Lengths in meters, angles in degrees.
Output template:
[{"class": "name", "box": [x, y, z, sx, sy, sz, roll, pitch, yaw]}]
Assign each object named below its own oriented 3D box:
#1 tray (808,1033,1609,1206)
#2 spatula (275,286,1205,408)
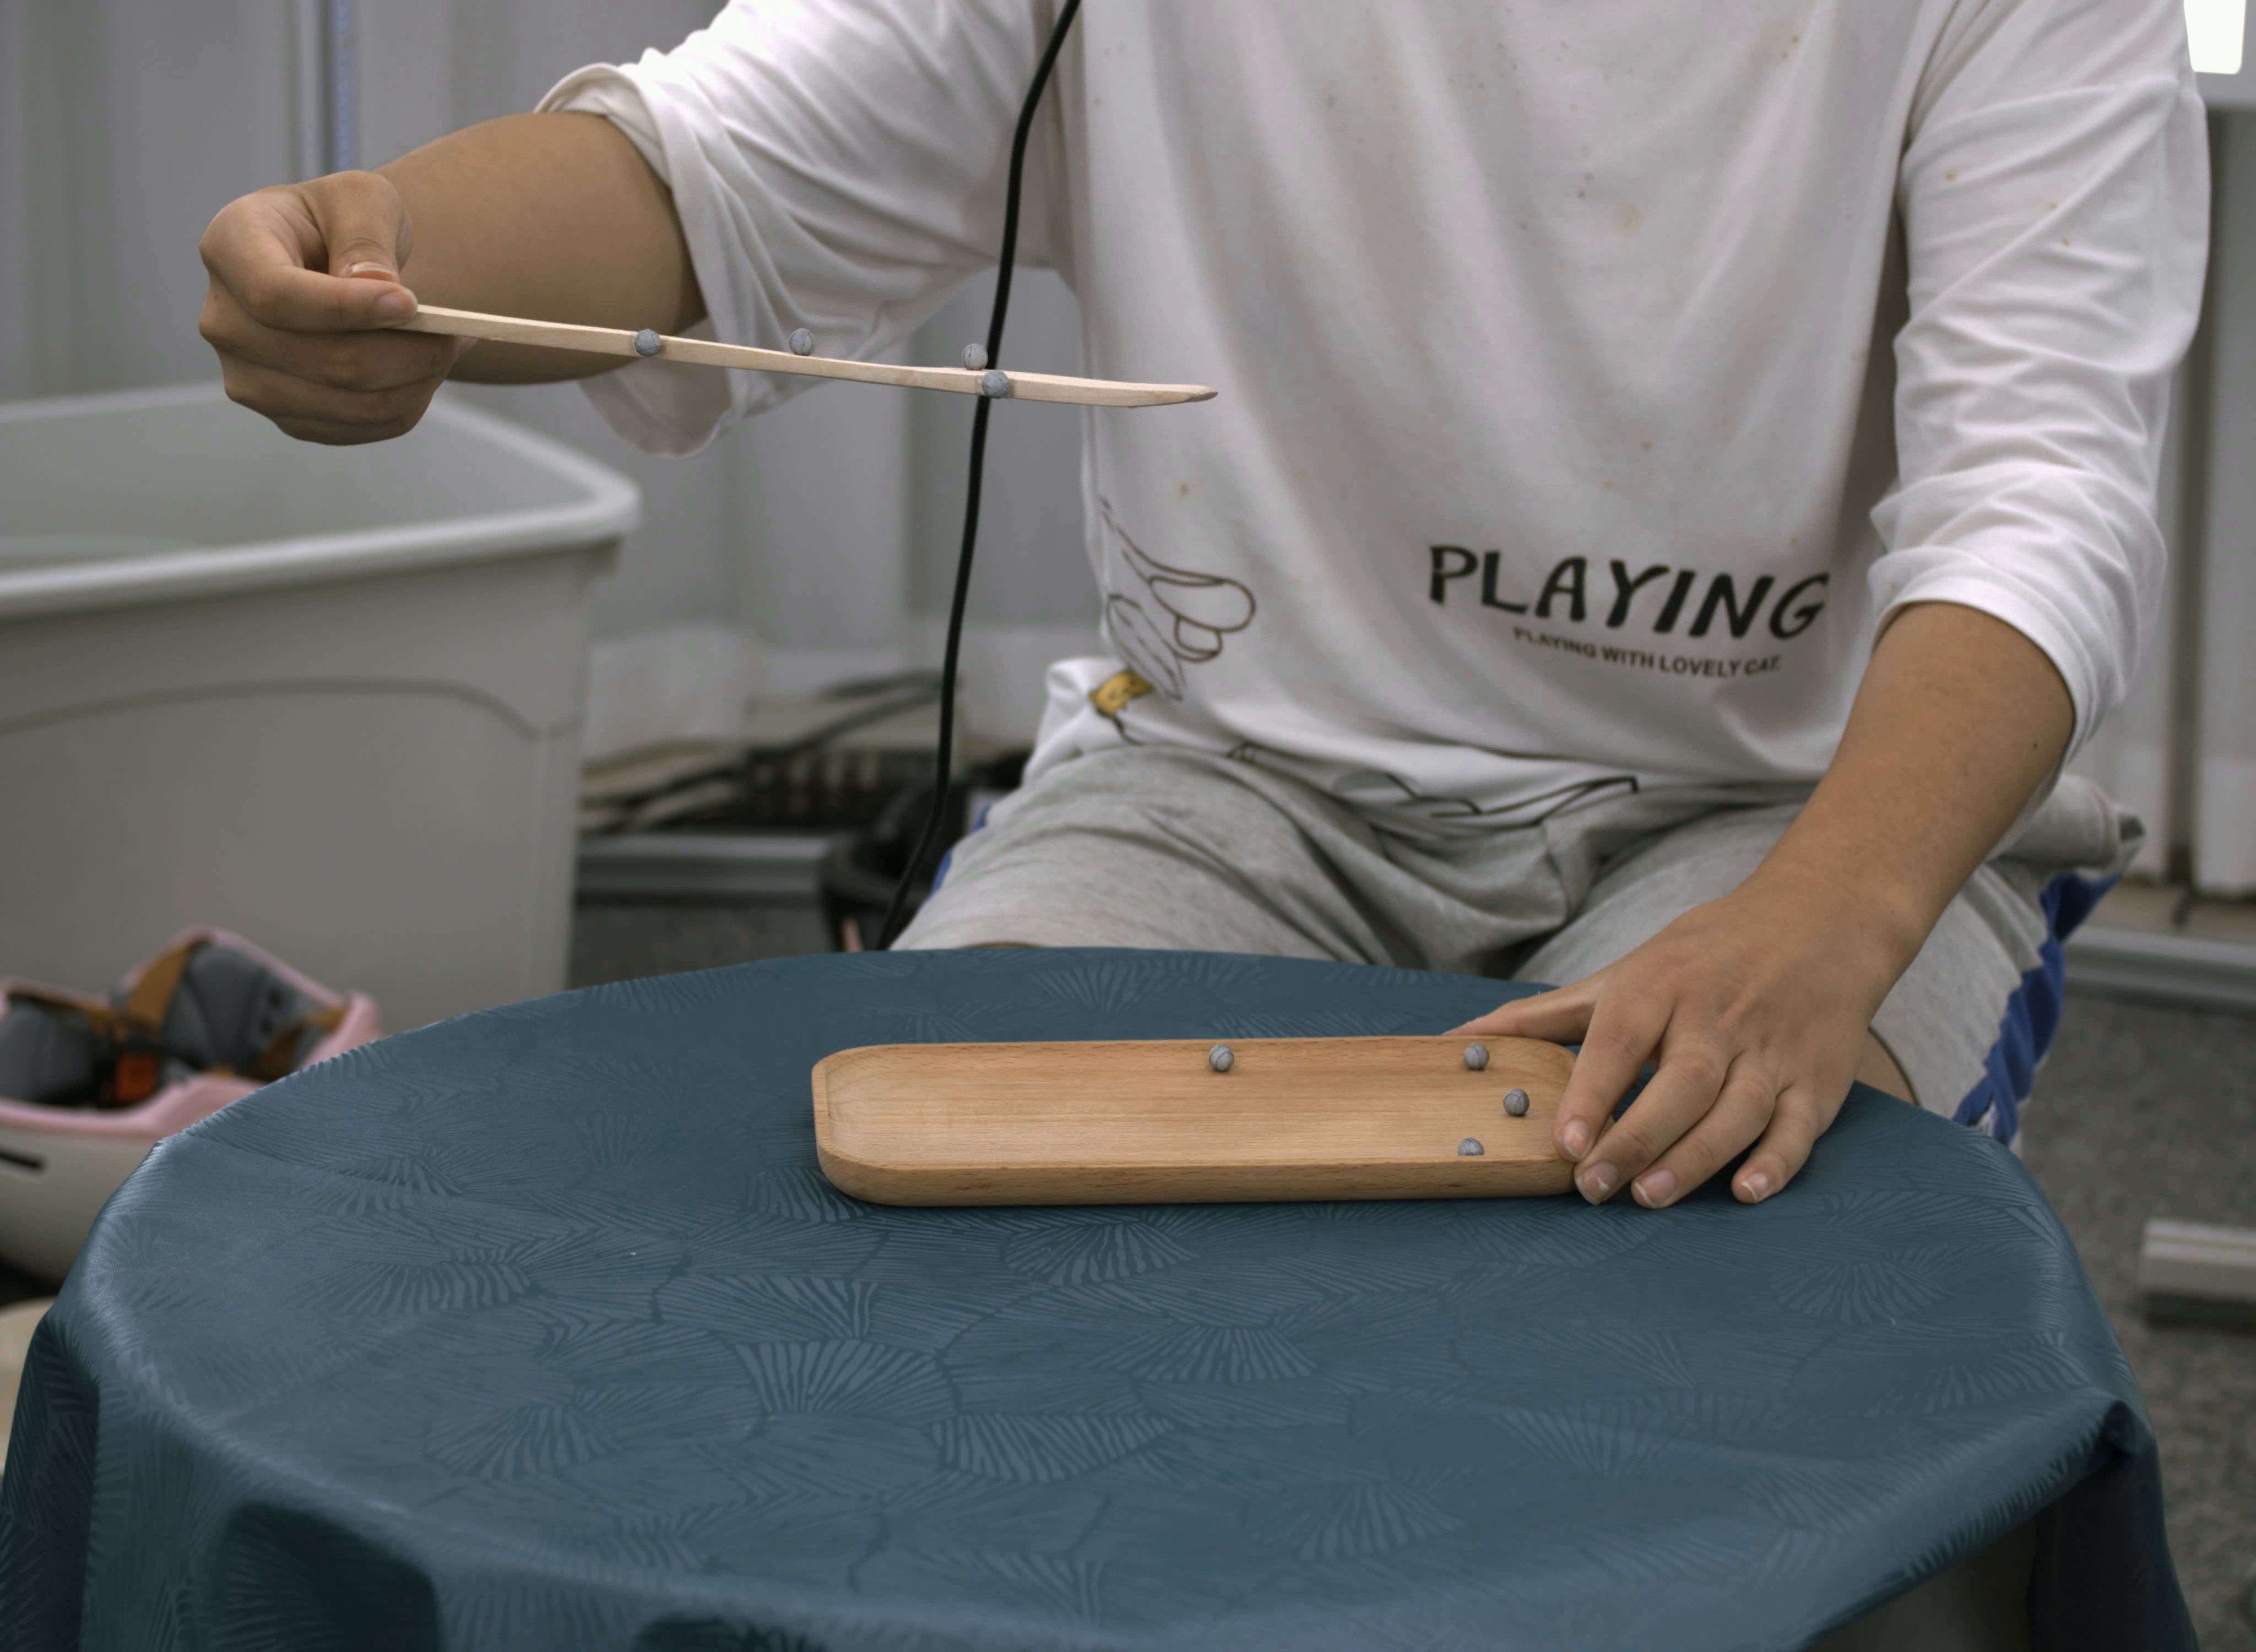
[{"class": "tray", "box": [0.024, 0.093, 1.674, 0.250, 0.023, 0.130, -1, 13, -4]}, {"class": "spatula", "box": [-0.123, -0.148, 1.633, 0.291, 0.011, 0.072, 7, 7, 5]}]
